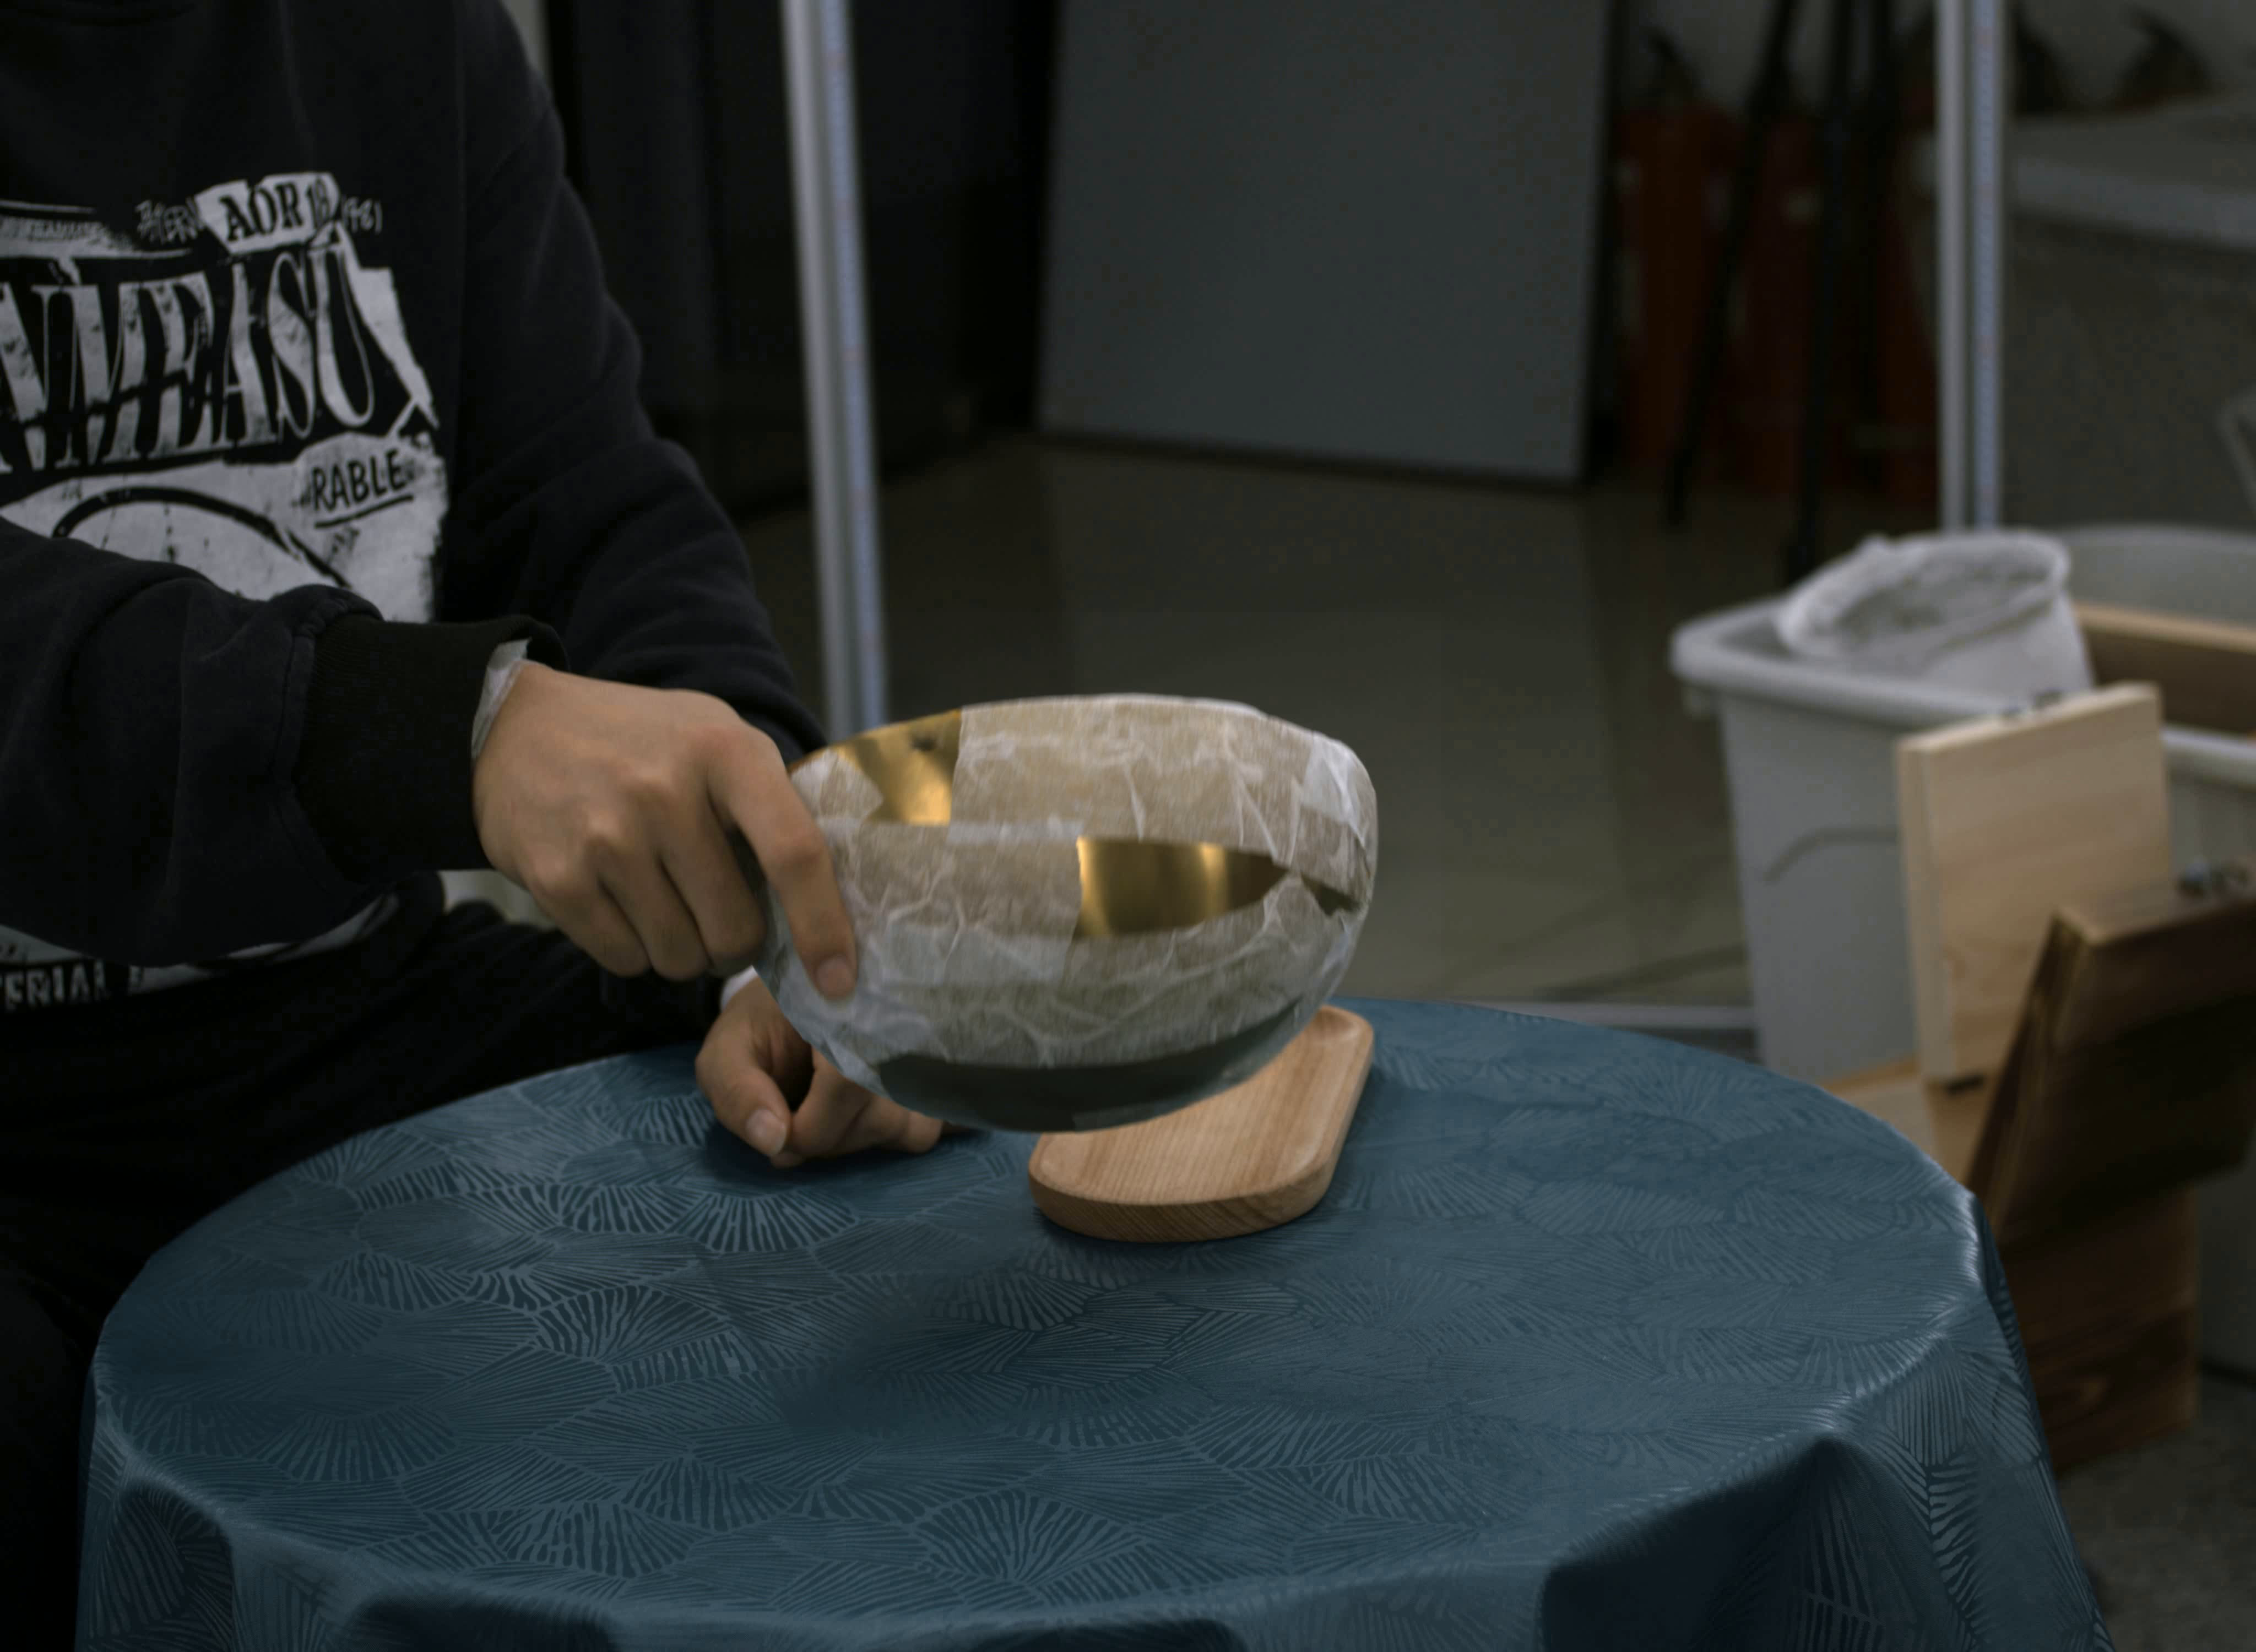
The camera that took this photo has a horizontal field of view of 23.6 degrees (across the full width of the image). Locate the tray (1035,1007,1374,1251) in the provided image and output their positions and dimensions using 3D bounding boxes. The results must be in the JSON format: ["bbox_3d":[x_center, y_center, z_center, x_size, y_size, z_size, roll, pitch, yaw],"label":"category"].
[{"bbox_3d":[0.028,0.100,1.817,0.101,0.020,0.230,-4,15,9],"label":"tray"}]

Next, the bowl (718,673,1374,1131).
[{"bbox_3d":[-0.022,0.038,1.635,0.211,0.096,0.215,-4,-23,-3],"label":"bowl"}]
